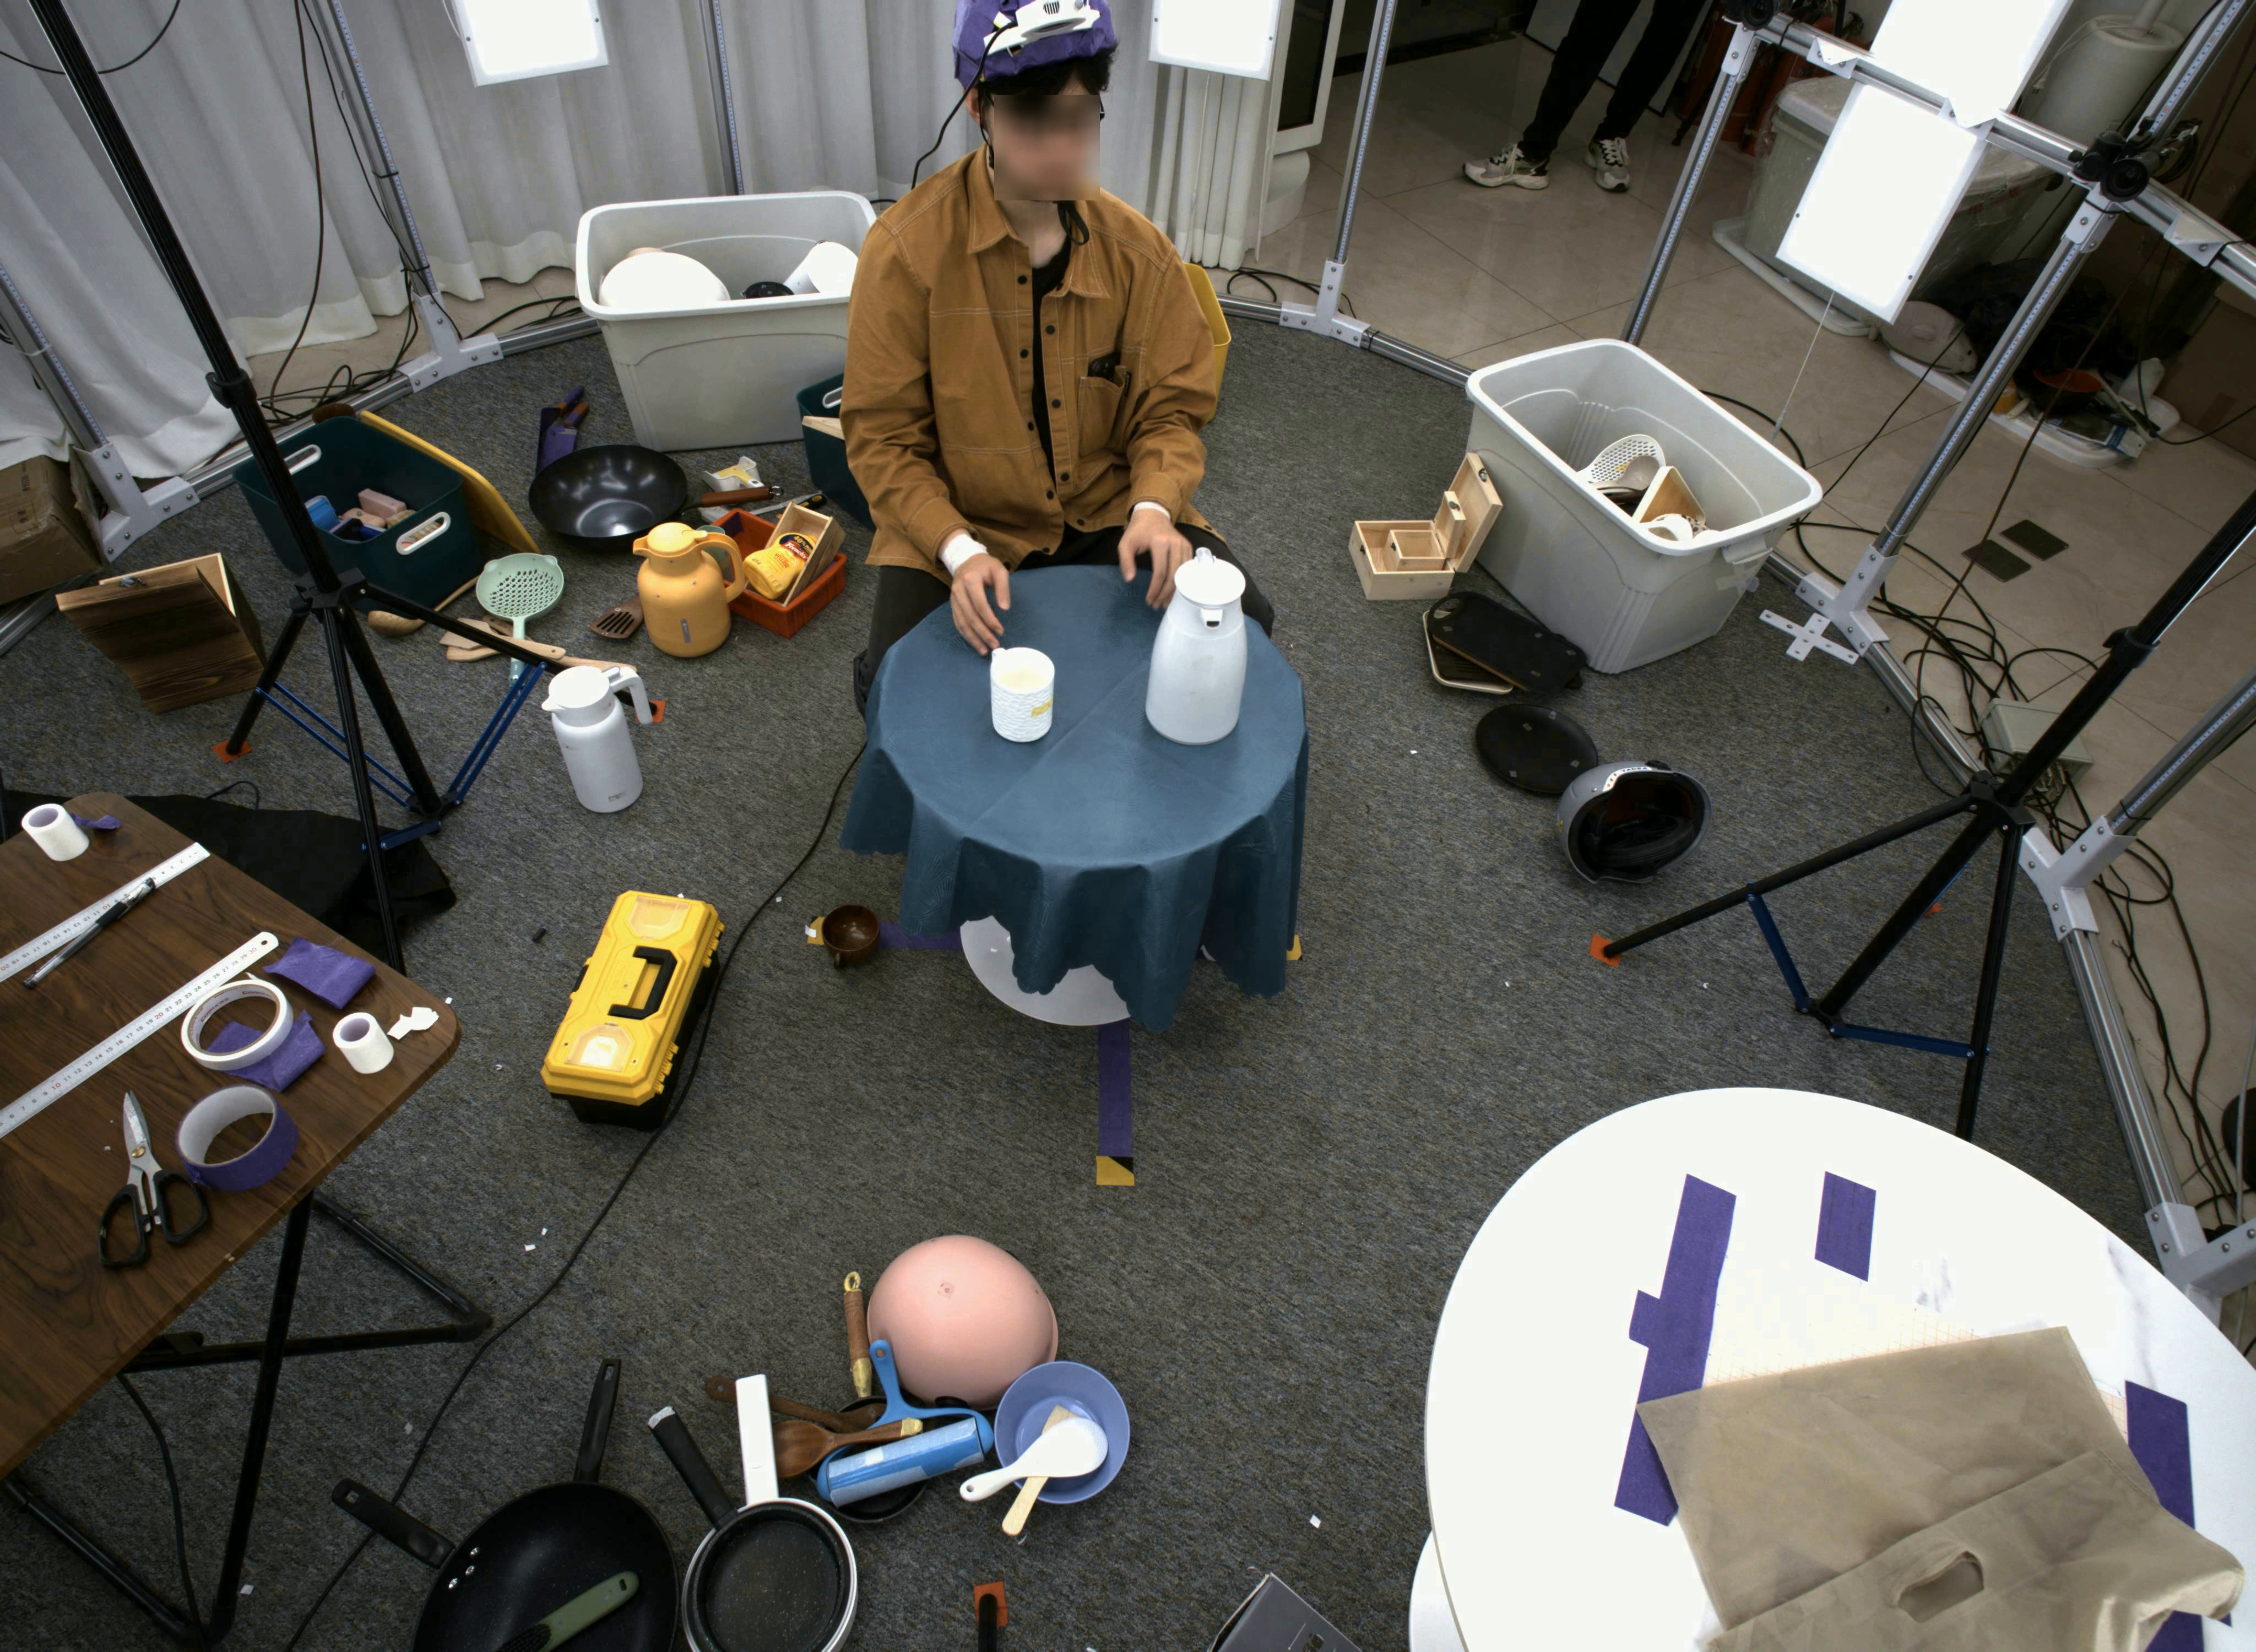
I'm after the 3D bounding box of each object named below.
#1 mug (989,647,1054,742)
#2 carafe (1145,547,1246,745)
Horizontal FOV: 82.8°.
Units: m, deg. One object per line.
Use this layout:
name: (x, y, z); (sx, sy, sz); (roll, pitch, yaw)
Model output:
mug: (-0.153, -0.188, 1.756); (0.085, 0.099, 0.120); (-24, 55, -22)
carafe: (0.094, -0.255, 1.736); (0.132, 0.242, 0.172); (-2, 49, -5)
